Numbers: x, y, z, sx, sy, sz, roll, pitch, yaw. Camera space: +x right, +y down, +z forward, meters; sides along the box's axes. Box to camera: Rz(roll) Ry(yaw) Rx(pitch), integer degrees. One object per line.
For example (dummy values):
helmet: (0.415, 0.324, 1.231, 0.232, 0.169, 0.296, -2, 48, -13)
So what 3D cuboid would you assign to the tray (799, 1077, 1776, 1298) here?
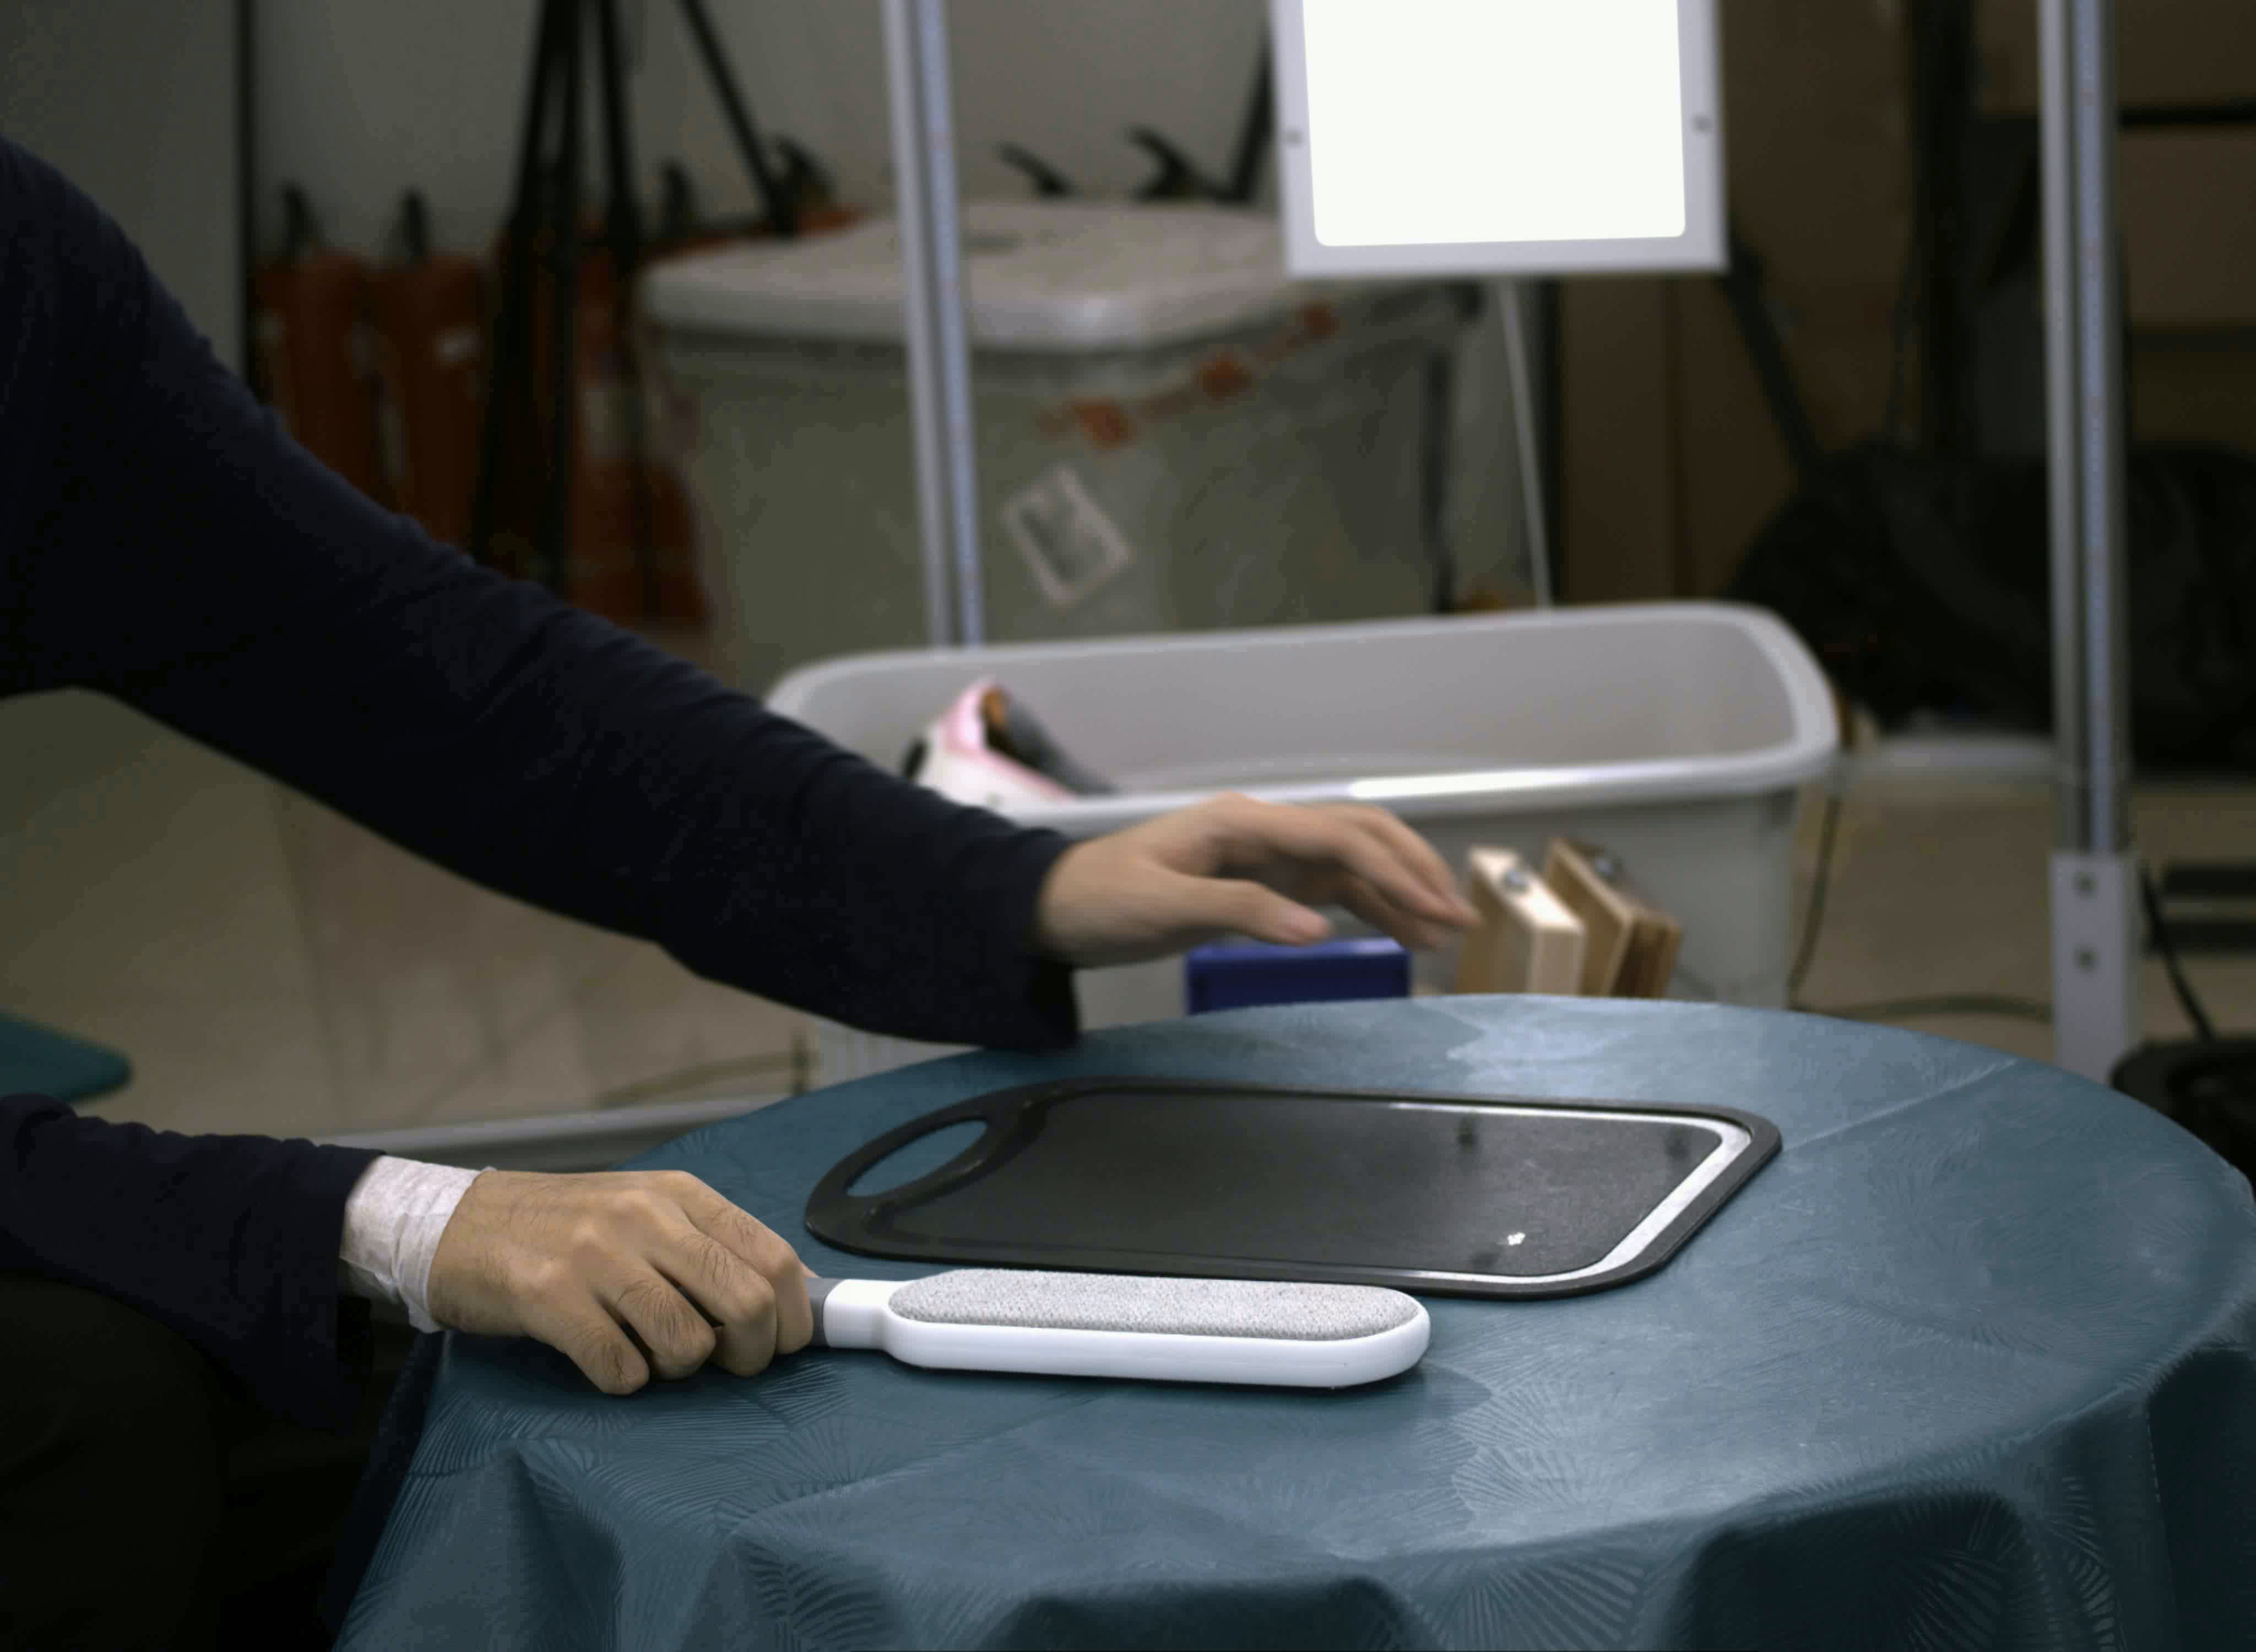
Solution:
tray: (0.048, 0.120, 1.898, 0.331, 0.010, 0.206, 2, 15, 27)

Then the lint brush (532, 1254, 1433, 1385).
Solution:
lint brush: (-0.051, 0.154, 1.755, 0.314, 0.021, 0.059, 1, 20, 24)
